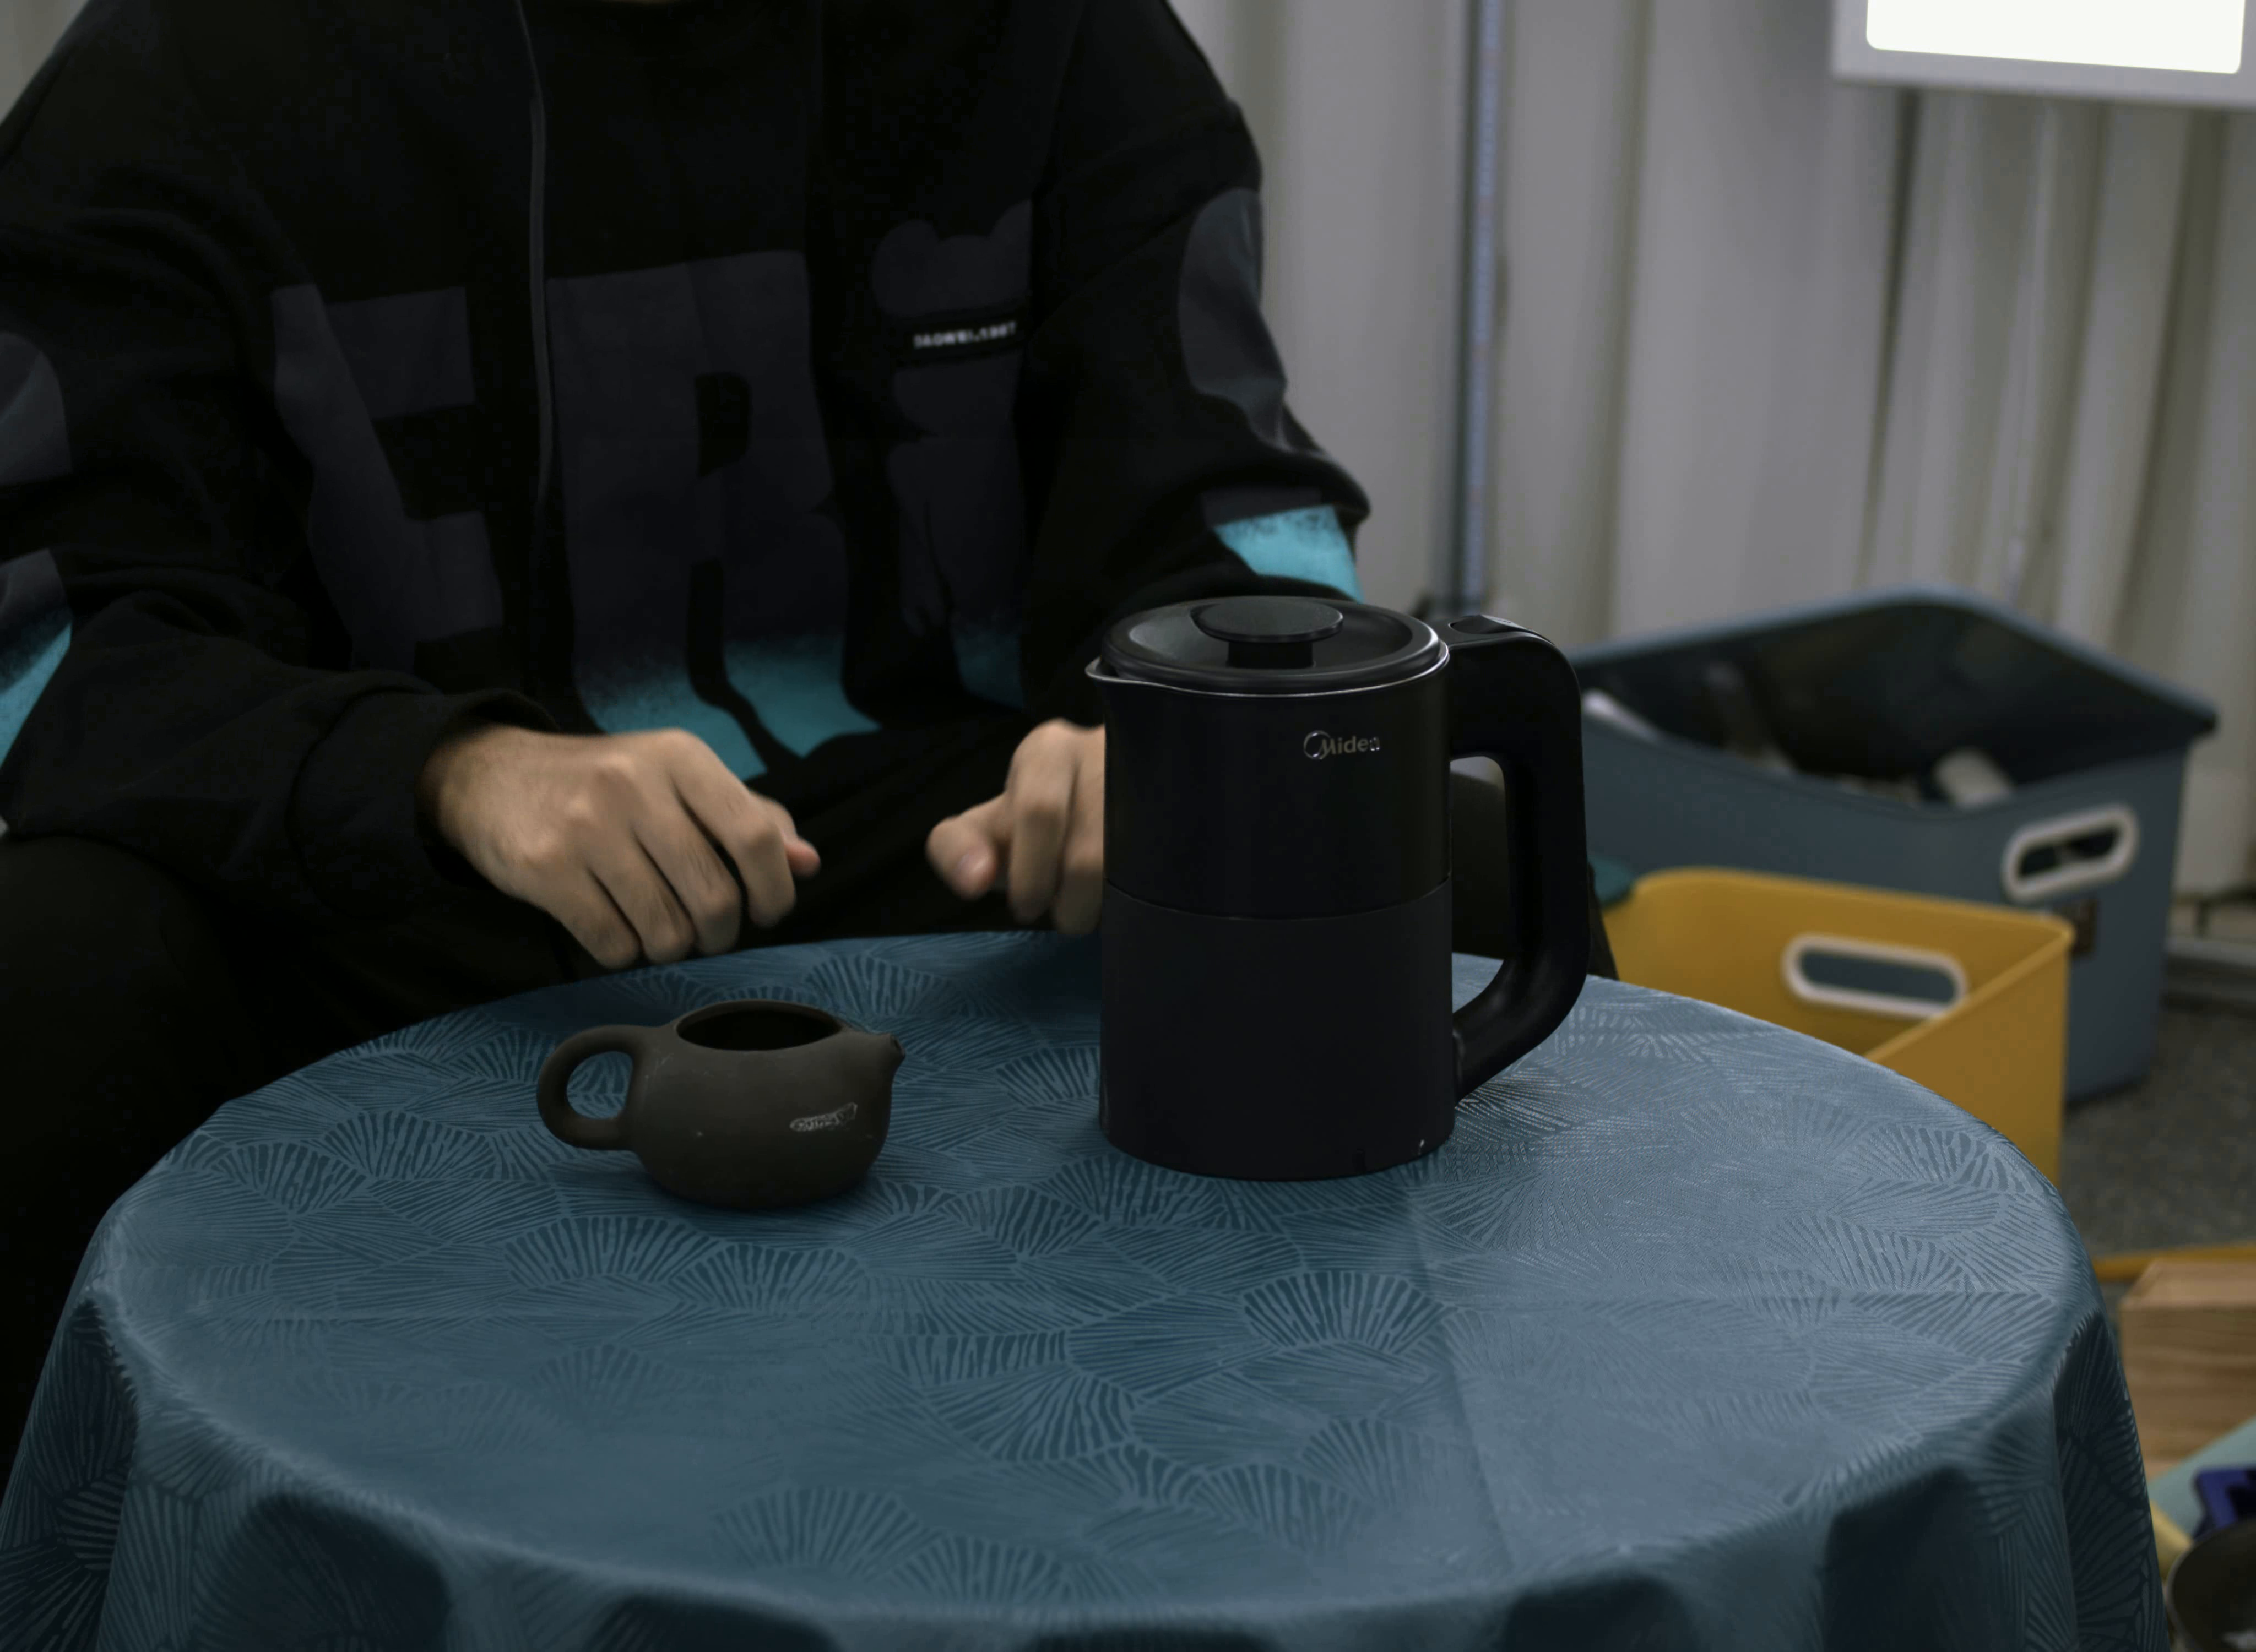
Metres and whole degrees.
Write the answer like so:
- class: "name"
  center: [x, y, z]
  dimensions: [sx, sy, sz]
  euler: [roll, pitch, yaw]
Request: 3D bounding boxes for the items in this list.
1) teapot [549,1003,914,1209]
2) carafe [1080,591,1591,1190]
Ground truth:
- class: "teapot"
  center: [-0.123, 0.084, 1.622]
  dimensions: [0.113, 0.053, 0.083]
  euler: [6, 15, 8]
- class: "carafe"
  center: [0.066, 0.011, 1.667]
  dimensions: [0.172, 0.175, 0.113]
  euler: [-10, 17, -25]
